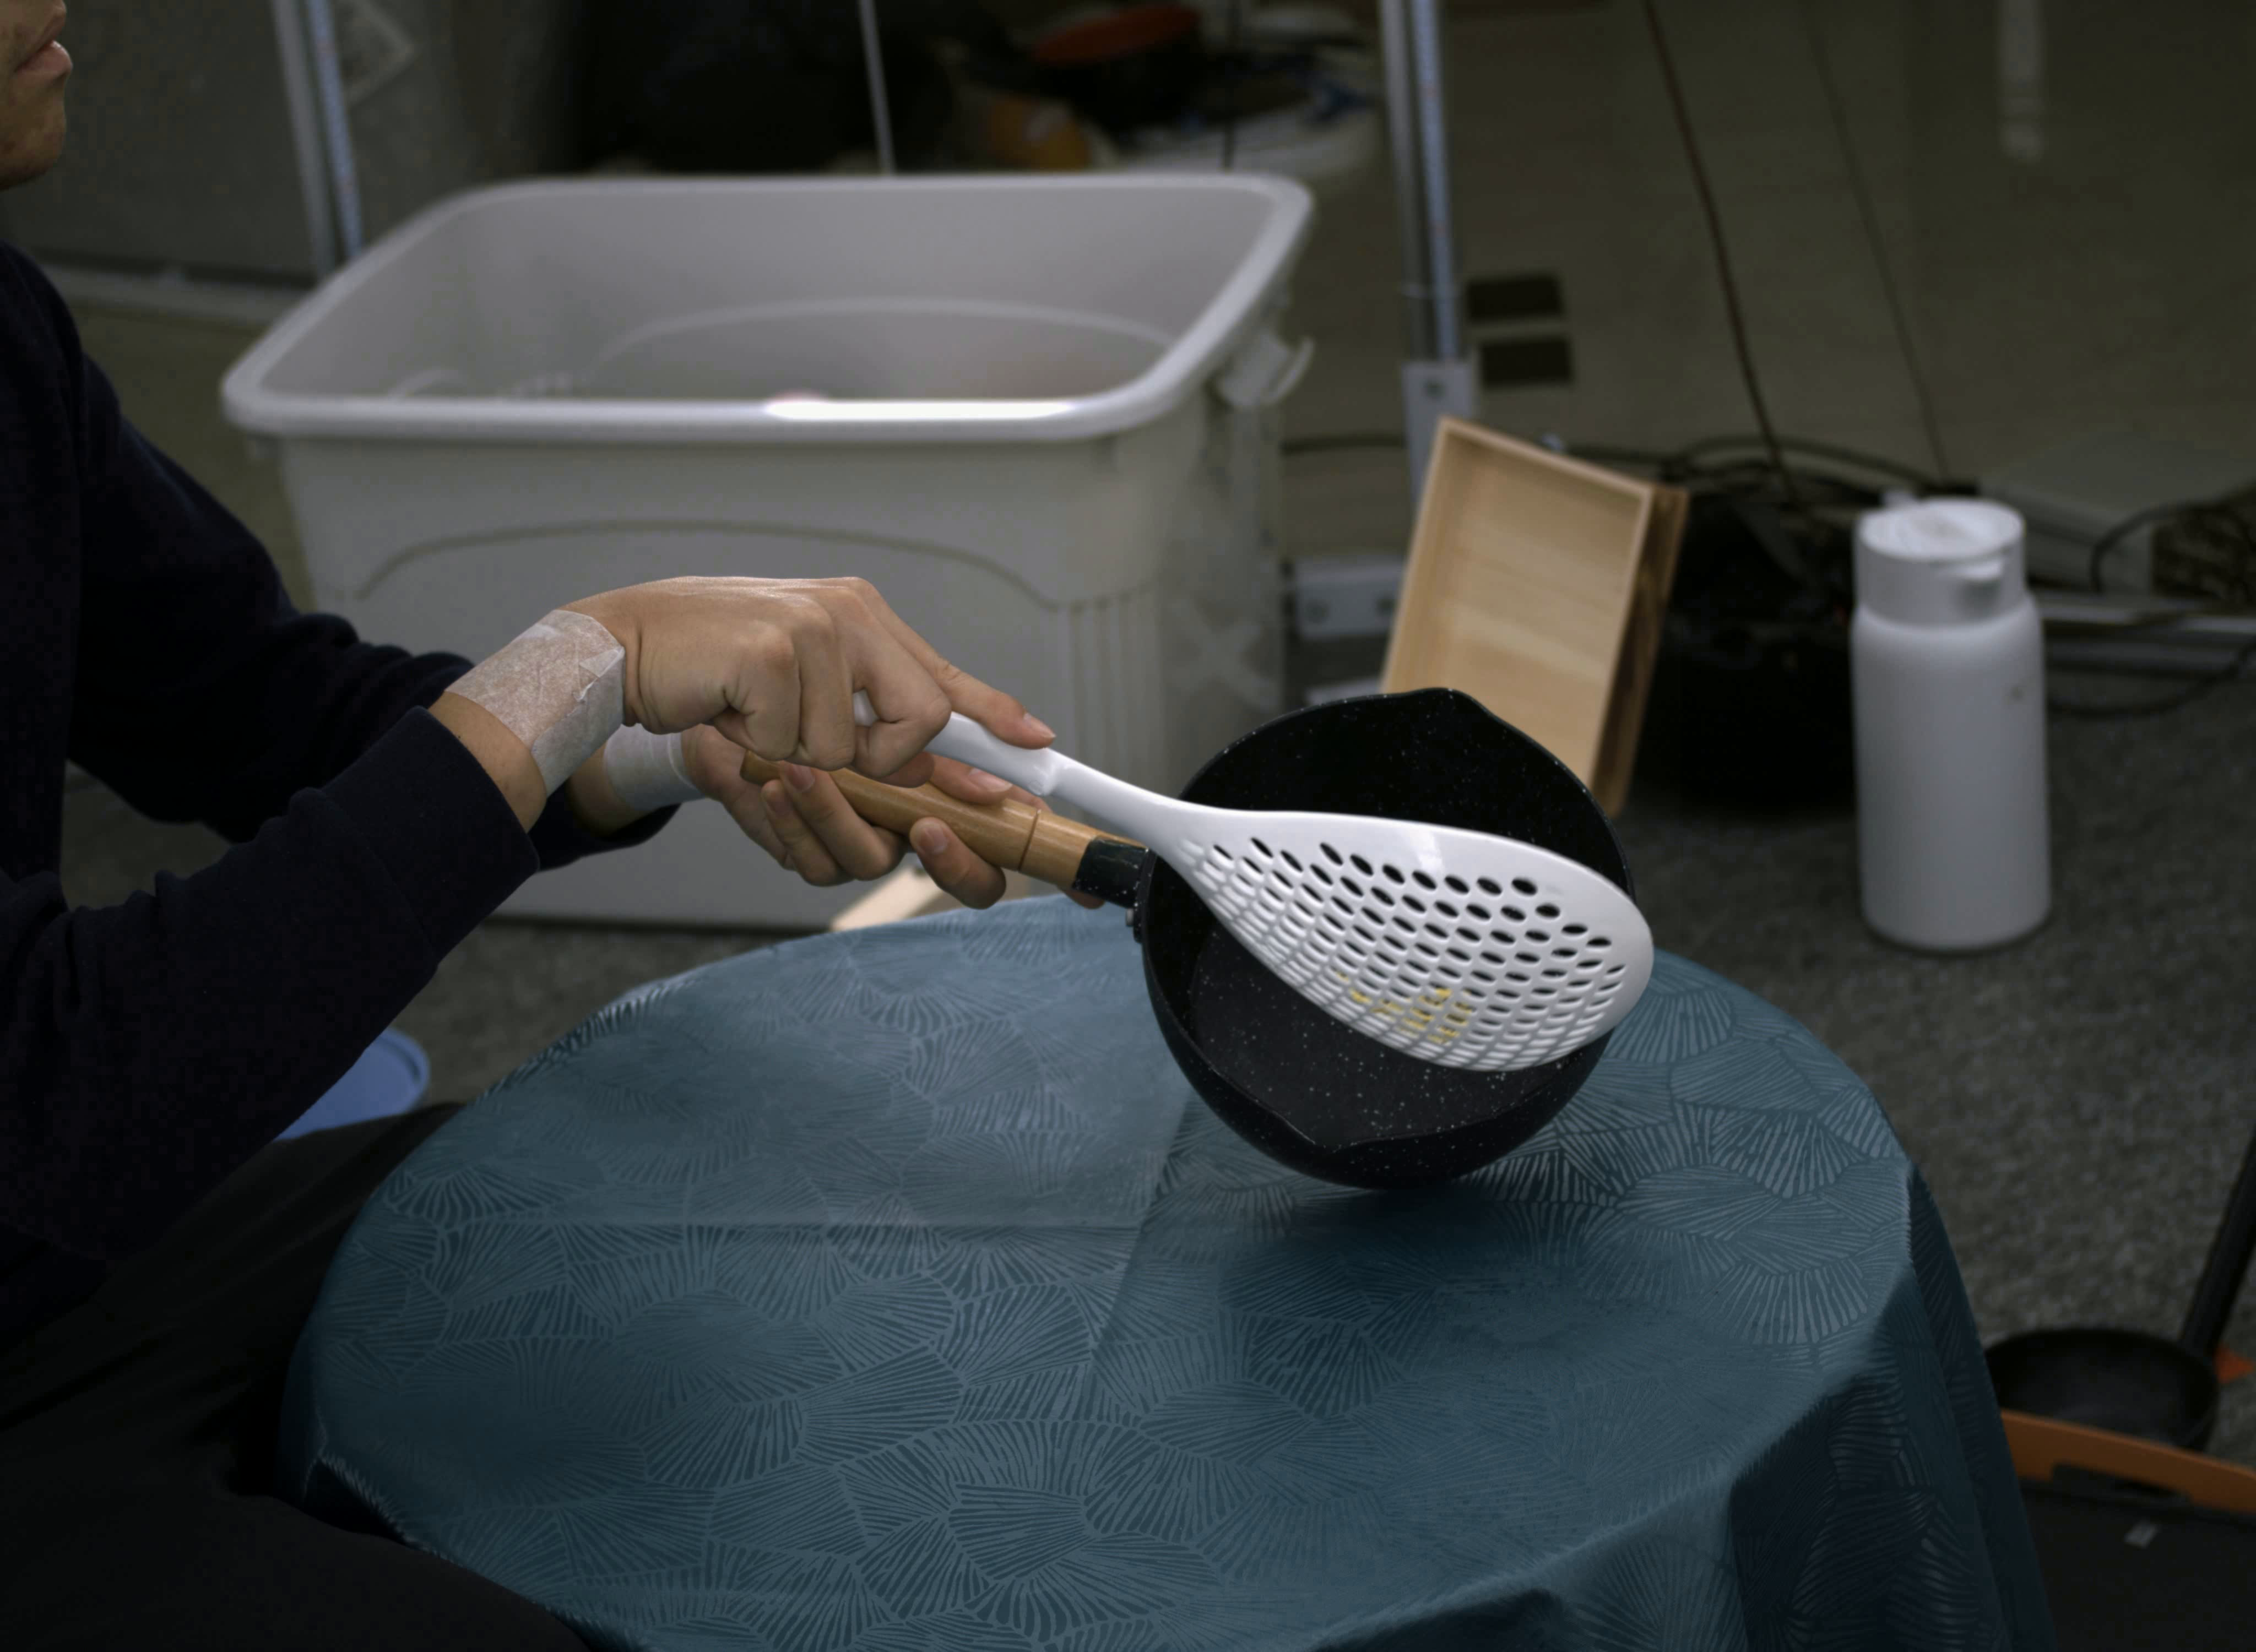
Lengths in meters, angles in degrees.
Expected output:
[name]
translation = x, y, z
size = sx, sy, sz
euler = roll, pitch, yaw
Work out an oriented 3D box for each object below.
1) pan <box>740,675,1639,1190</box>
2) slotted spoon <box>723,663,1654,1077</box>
[pan]
translation = 0.019, 0.029, 2.126
size = 0.342, 0.110, 0.205
euler = 13, 65, 6
[slotted spoon]
translation = 0.019, 0.009, 2.003
size = 0.348, 0.139, 0.049
euler = 26, 54, -9
